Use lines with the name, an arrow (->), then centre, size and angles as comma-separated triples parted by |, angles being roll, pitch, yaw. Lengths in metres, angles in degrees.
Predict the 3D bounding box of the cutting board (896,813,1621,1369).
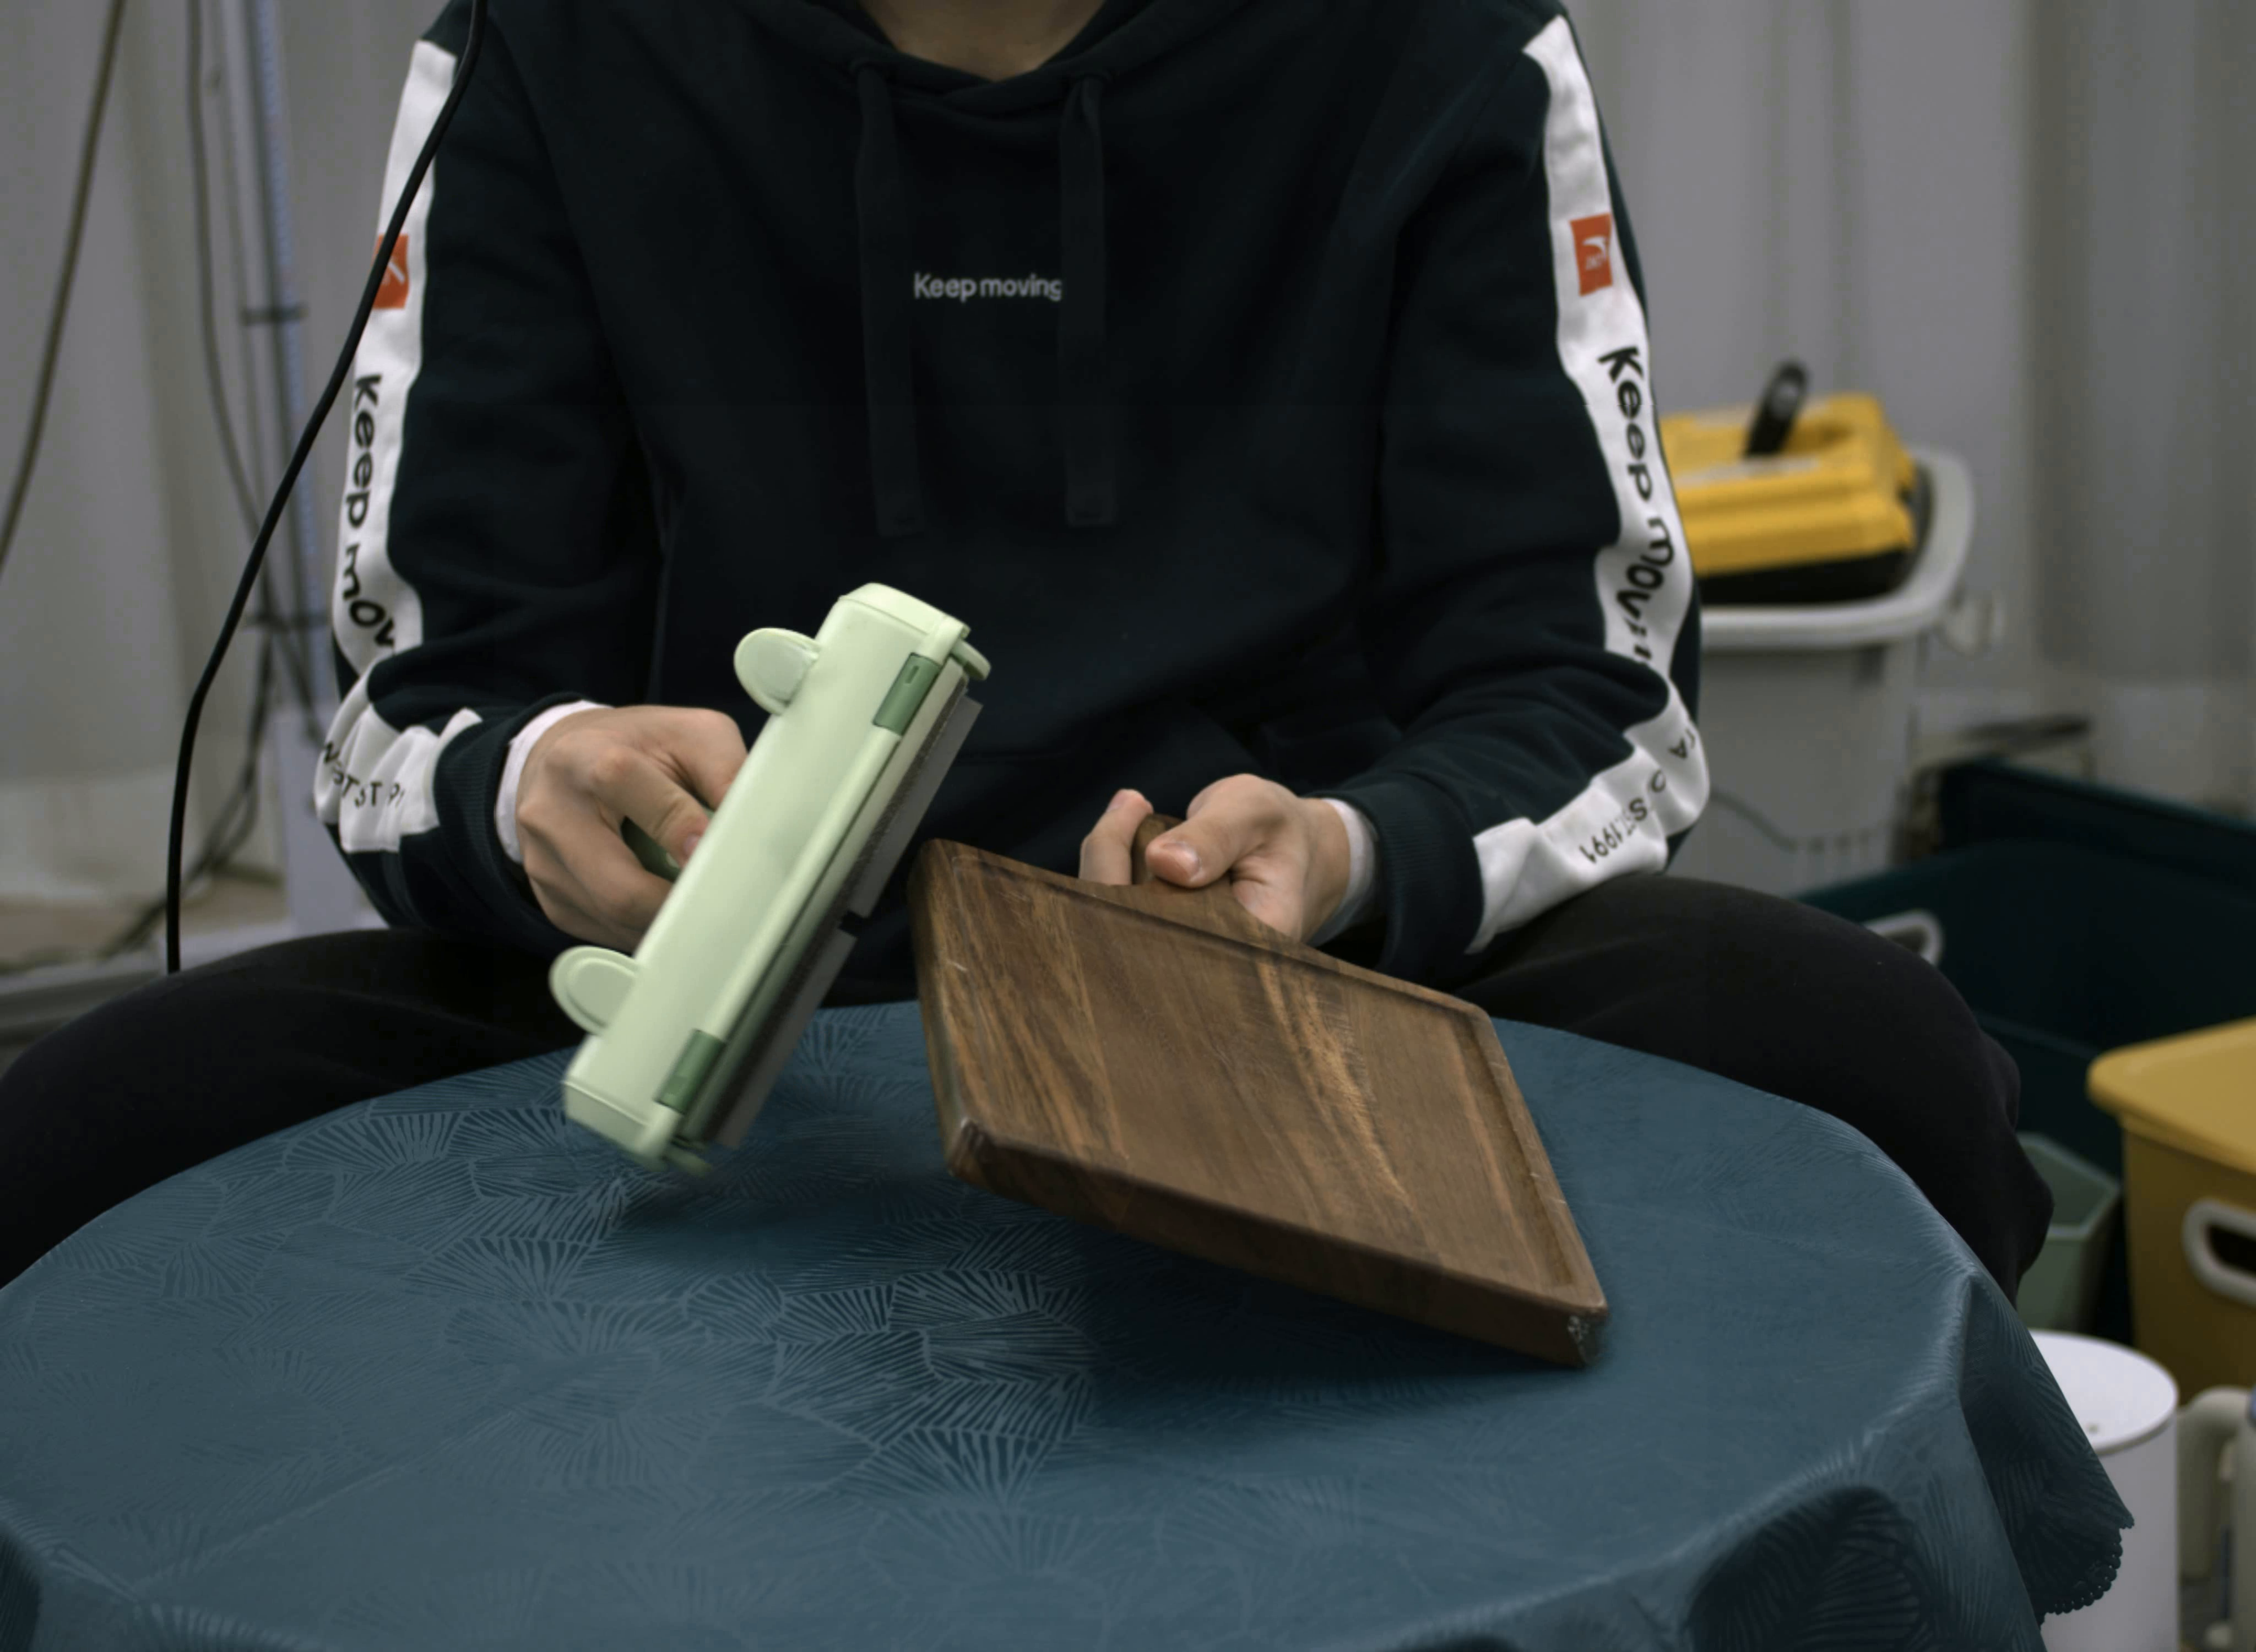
cutting board -> 0.028, 0.063, 1.686 | 0.200, 0.023, 0.355 | 17, 16, -11

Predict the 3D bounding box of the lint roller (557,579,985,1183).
lint roller -> -0.144, 0.005, 1.768 | 0.081, 0.199, 0.184 | 33, -9, -33
